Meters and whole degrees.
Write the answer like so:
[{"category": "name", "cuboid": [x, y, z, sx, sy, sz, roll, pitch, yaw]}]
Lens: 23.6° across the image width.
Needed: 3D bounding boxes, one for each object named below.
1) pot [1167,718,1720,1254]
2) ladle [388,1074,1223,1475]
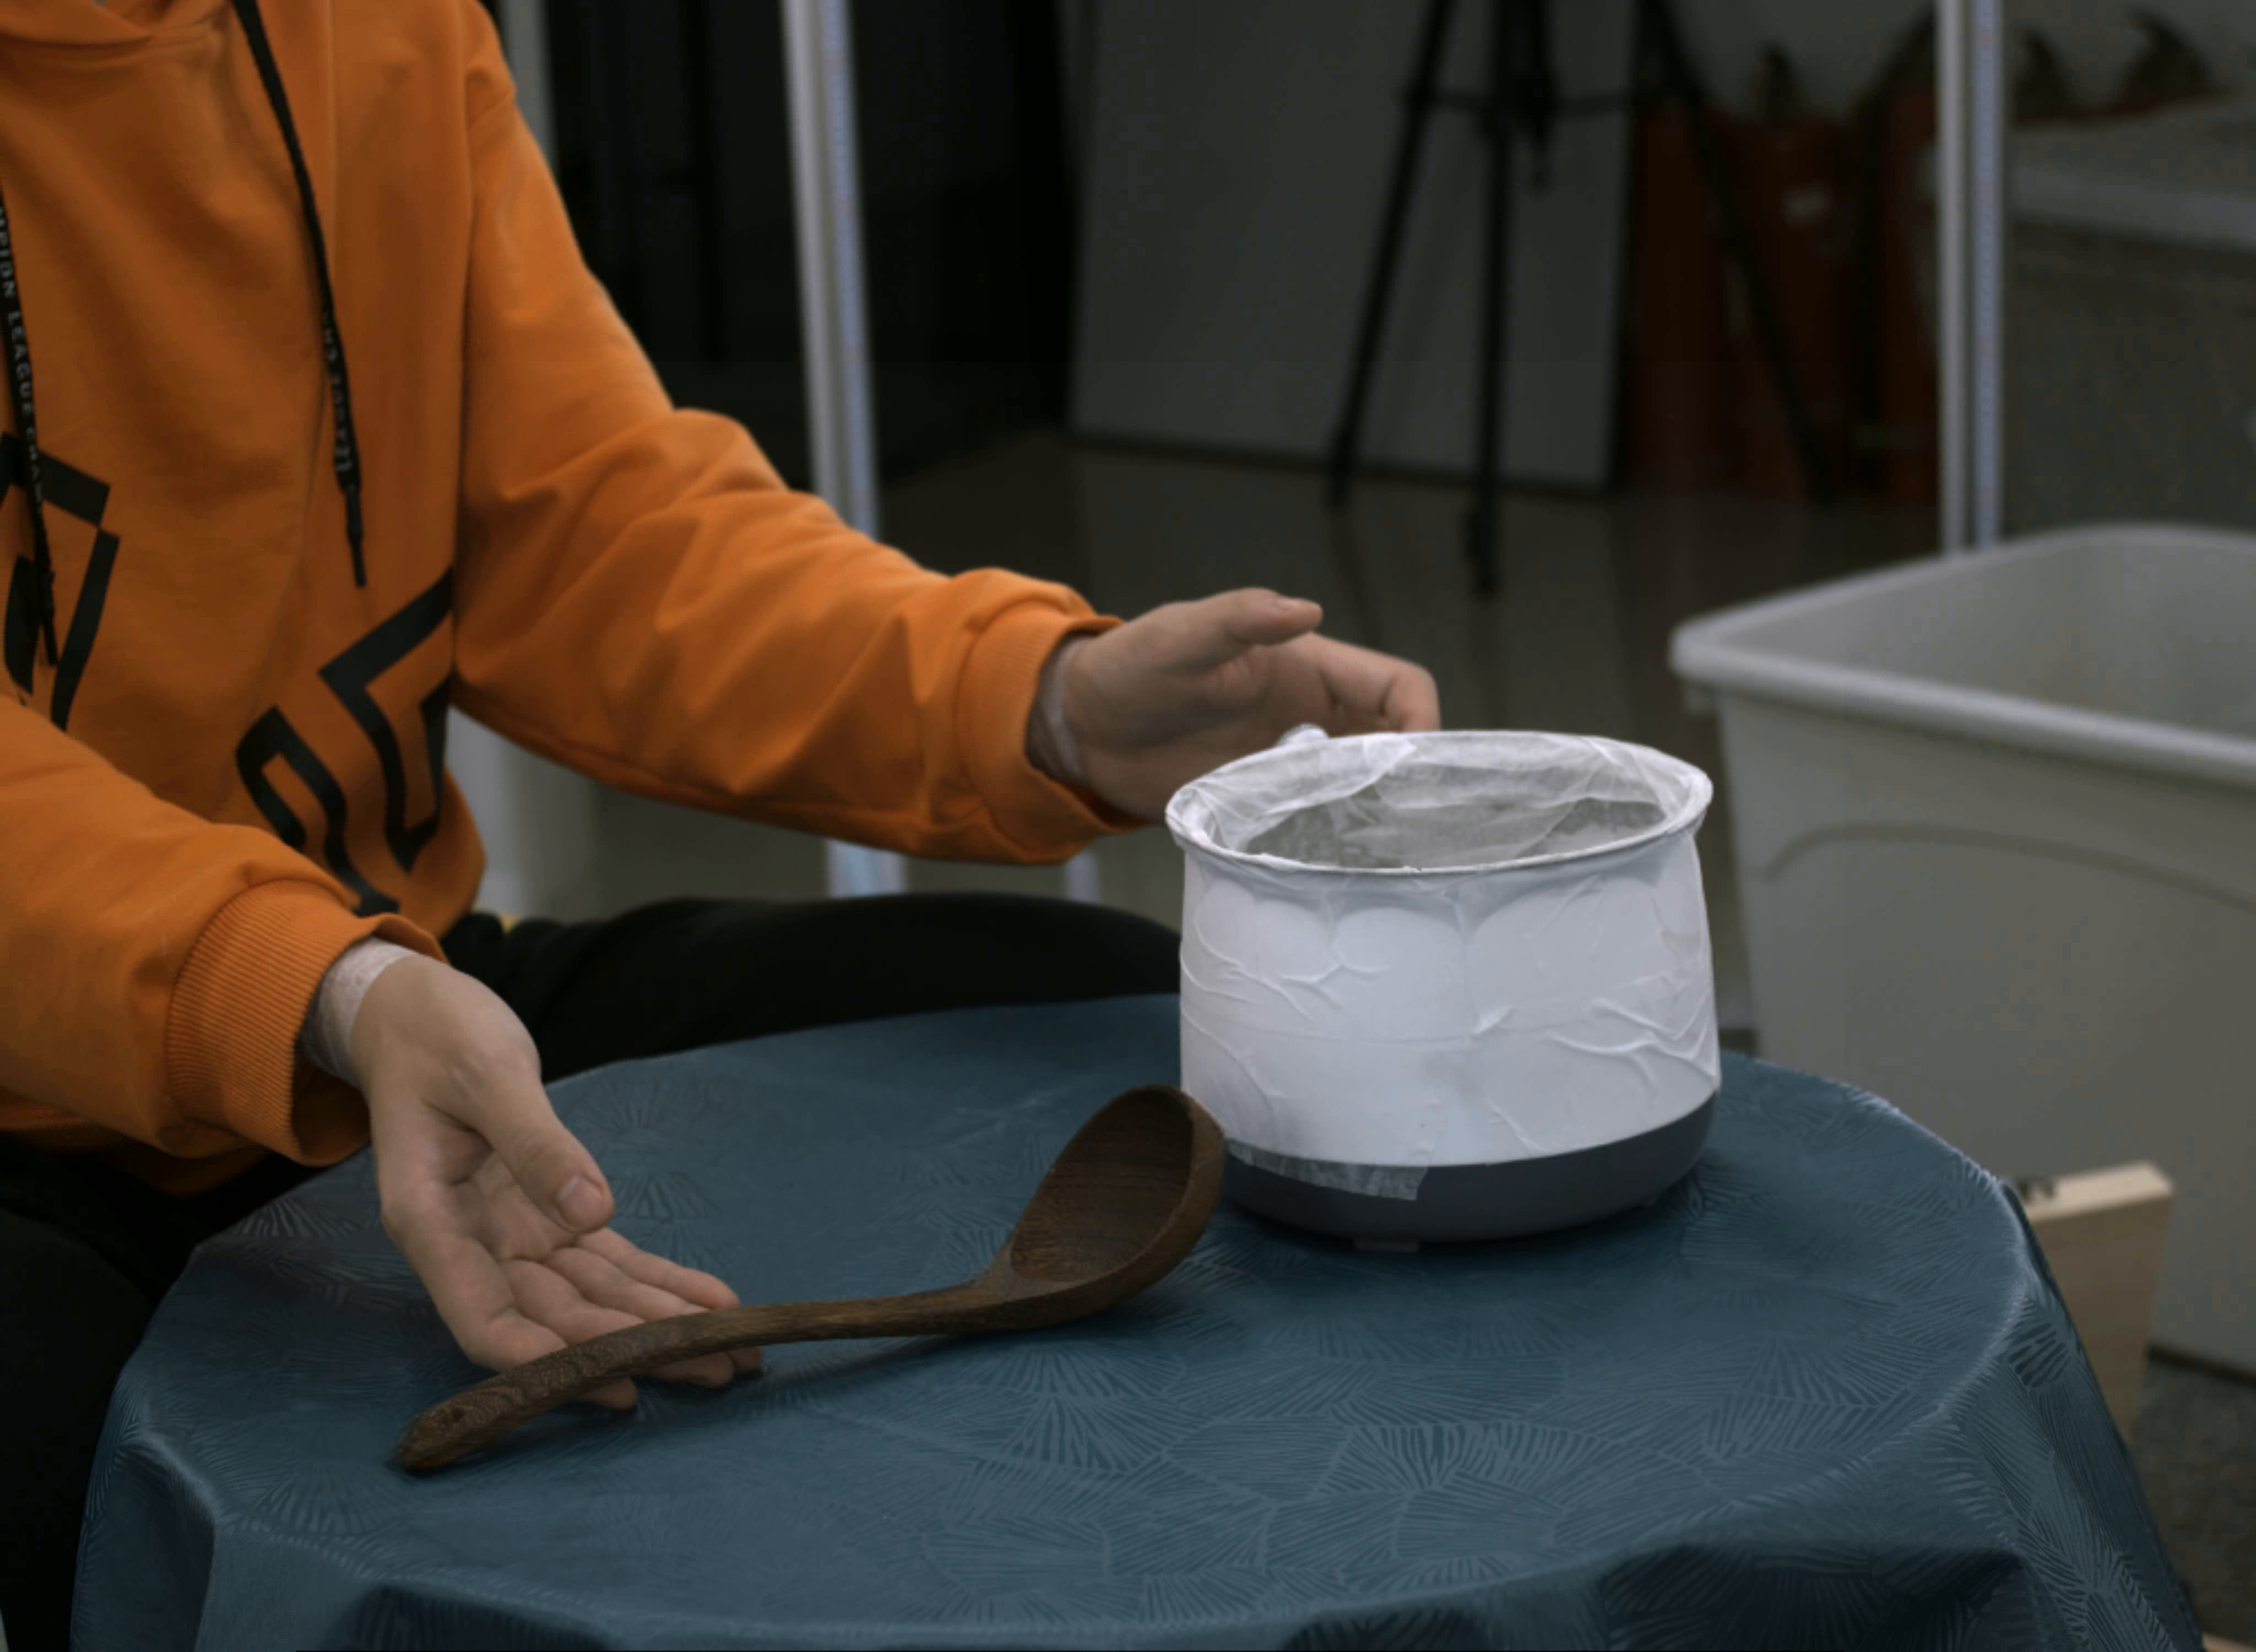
[{"category": "pot", "cuboid": [0.091, 0.045, 1.763, 0.175, 0.138, 0.236, -9, 15, -23]}, {"category": "ladle", "cuboid": [-0.094, 0.131, 1.612, 0.268, 0.072, 0.077, -10, 12, -26]}]
